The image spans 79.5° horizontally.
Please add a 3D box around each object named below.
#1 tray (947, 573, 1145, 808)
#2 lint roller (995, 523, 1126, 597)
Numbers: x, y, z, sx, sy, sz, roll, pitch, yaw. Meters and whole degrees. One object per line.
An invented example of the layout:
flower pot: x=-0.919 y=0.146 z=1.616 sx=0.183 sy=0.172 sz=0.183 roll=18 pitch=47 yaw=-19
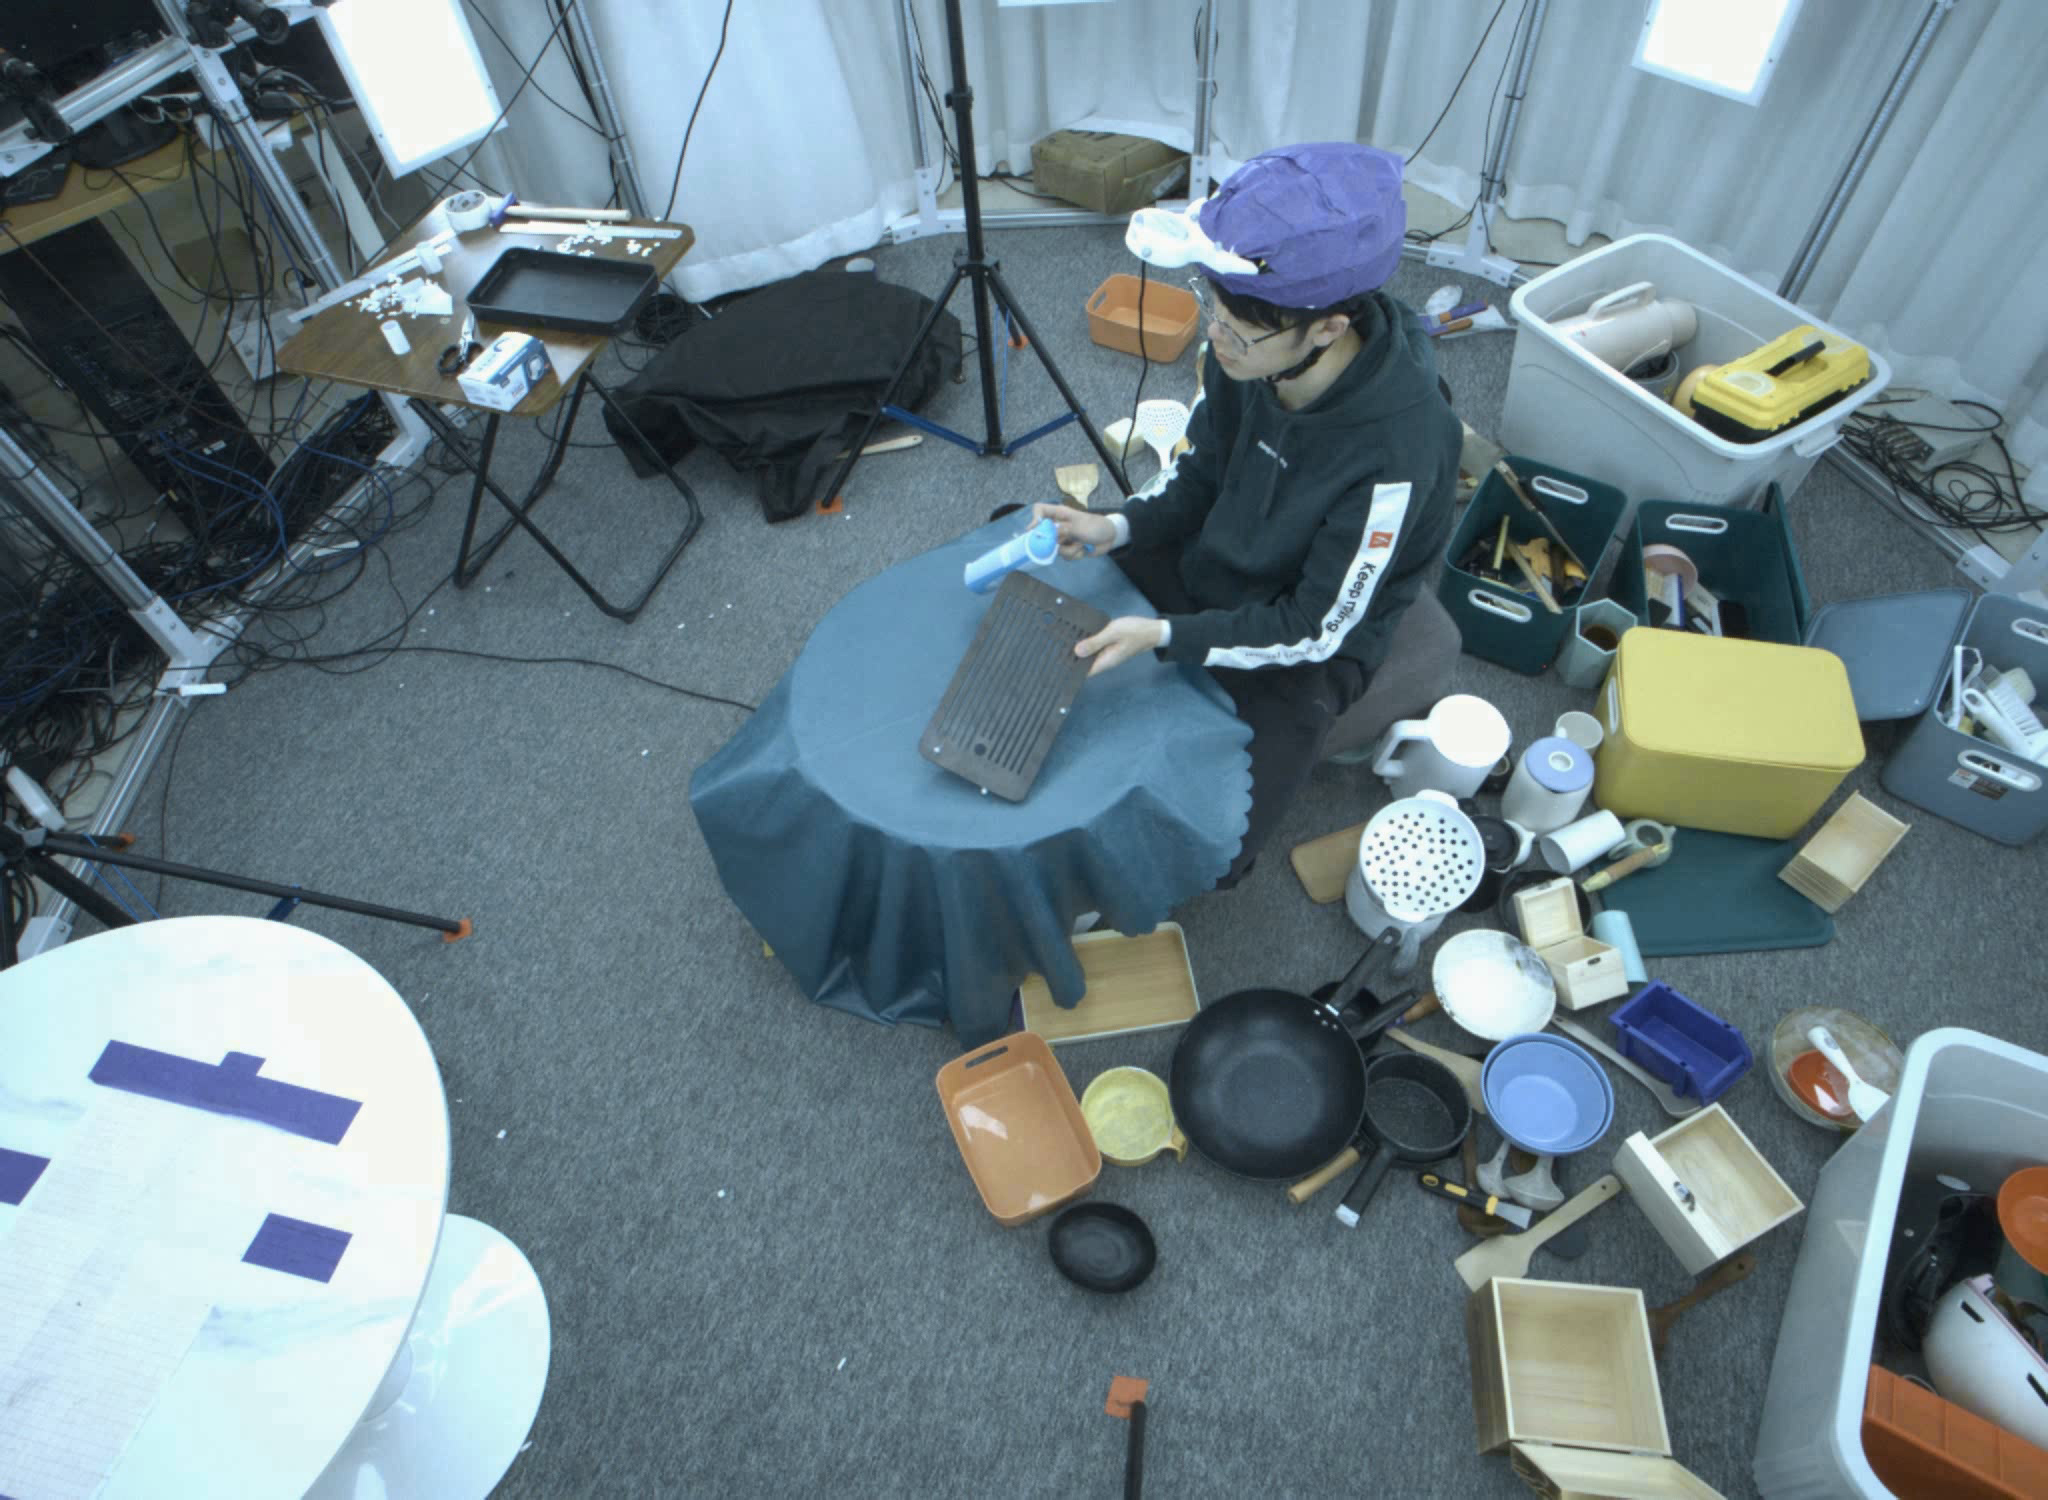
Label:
tray: x=0.032 y=-0.086 z=1.744 sx=0.170 sy=0.018 sz=0.306 roll=28 pitch=82 yaw=1
lint roller: x=0.070 y=-0.294 z=1.839 sx=0.183 sy=0.225 sz=0.068 roll=-24 pitch=94 yaw=-32
